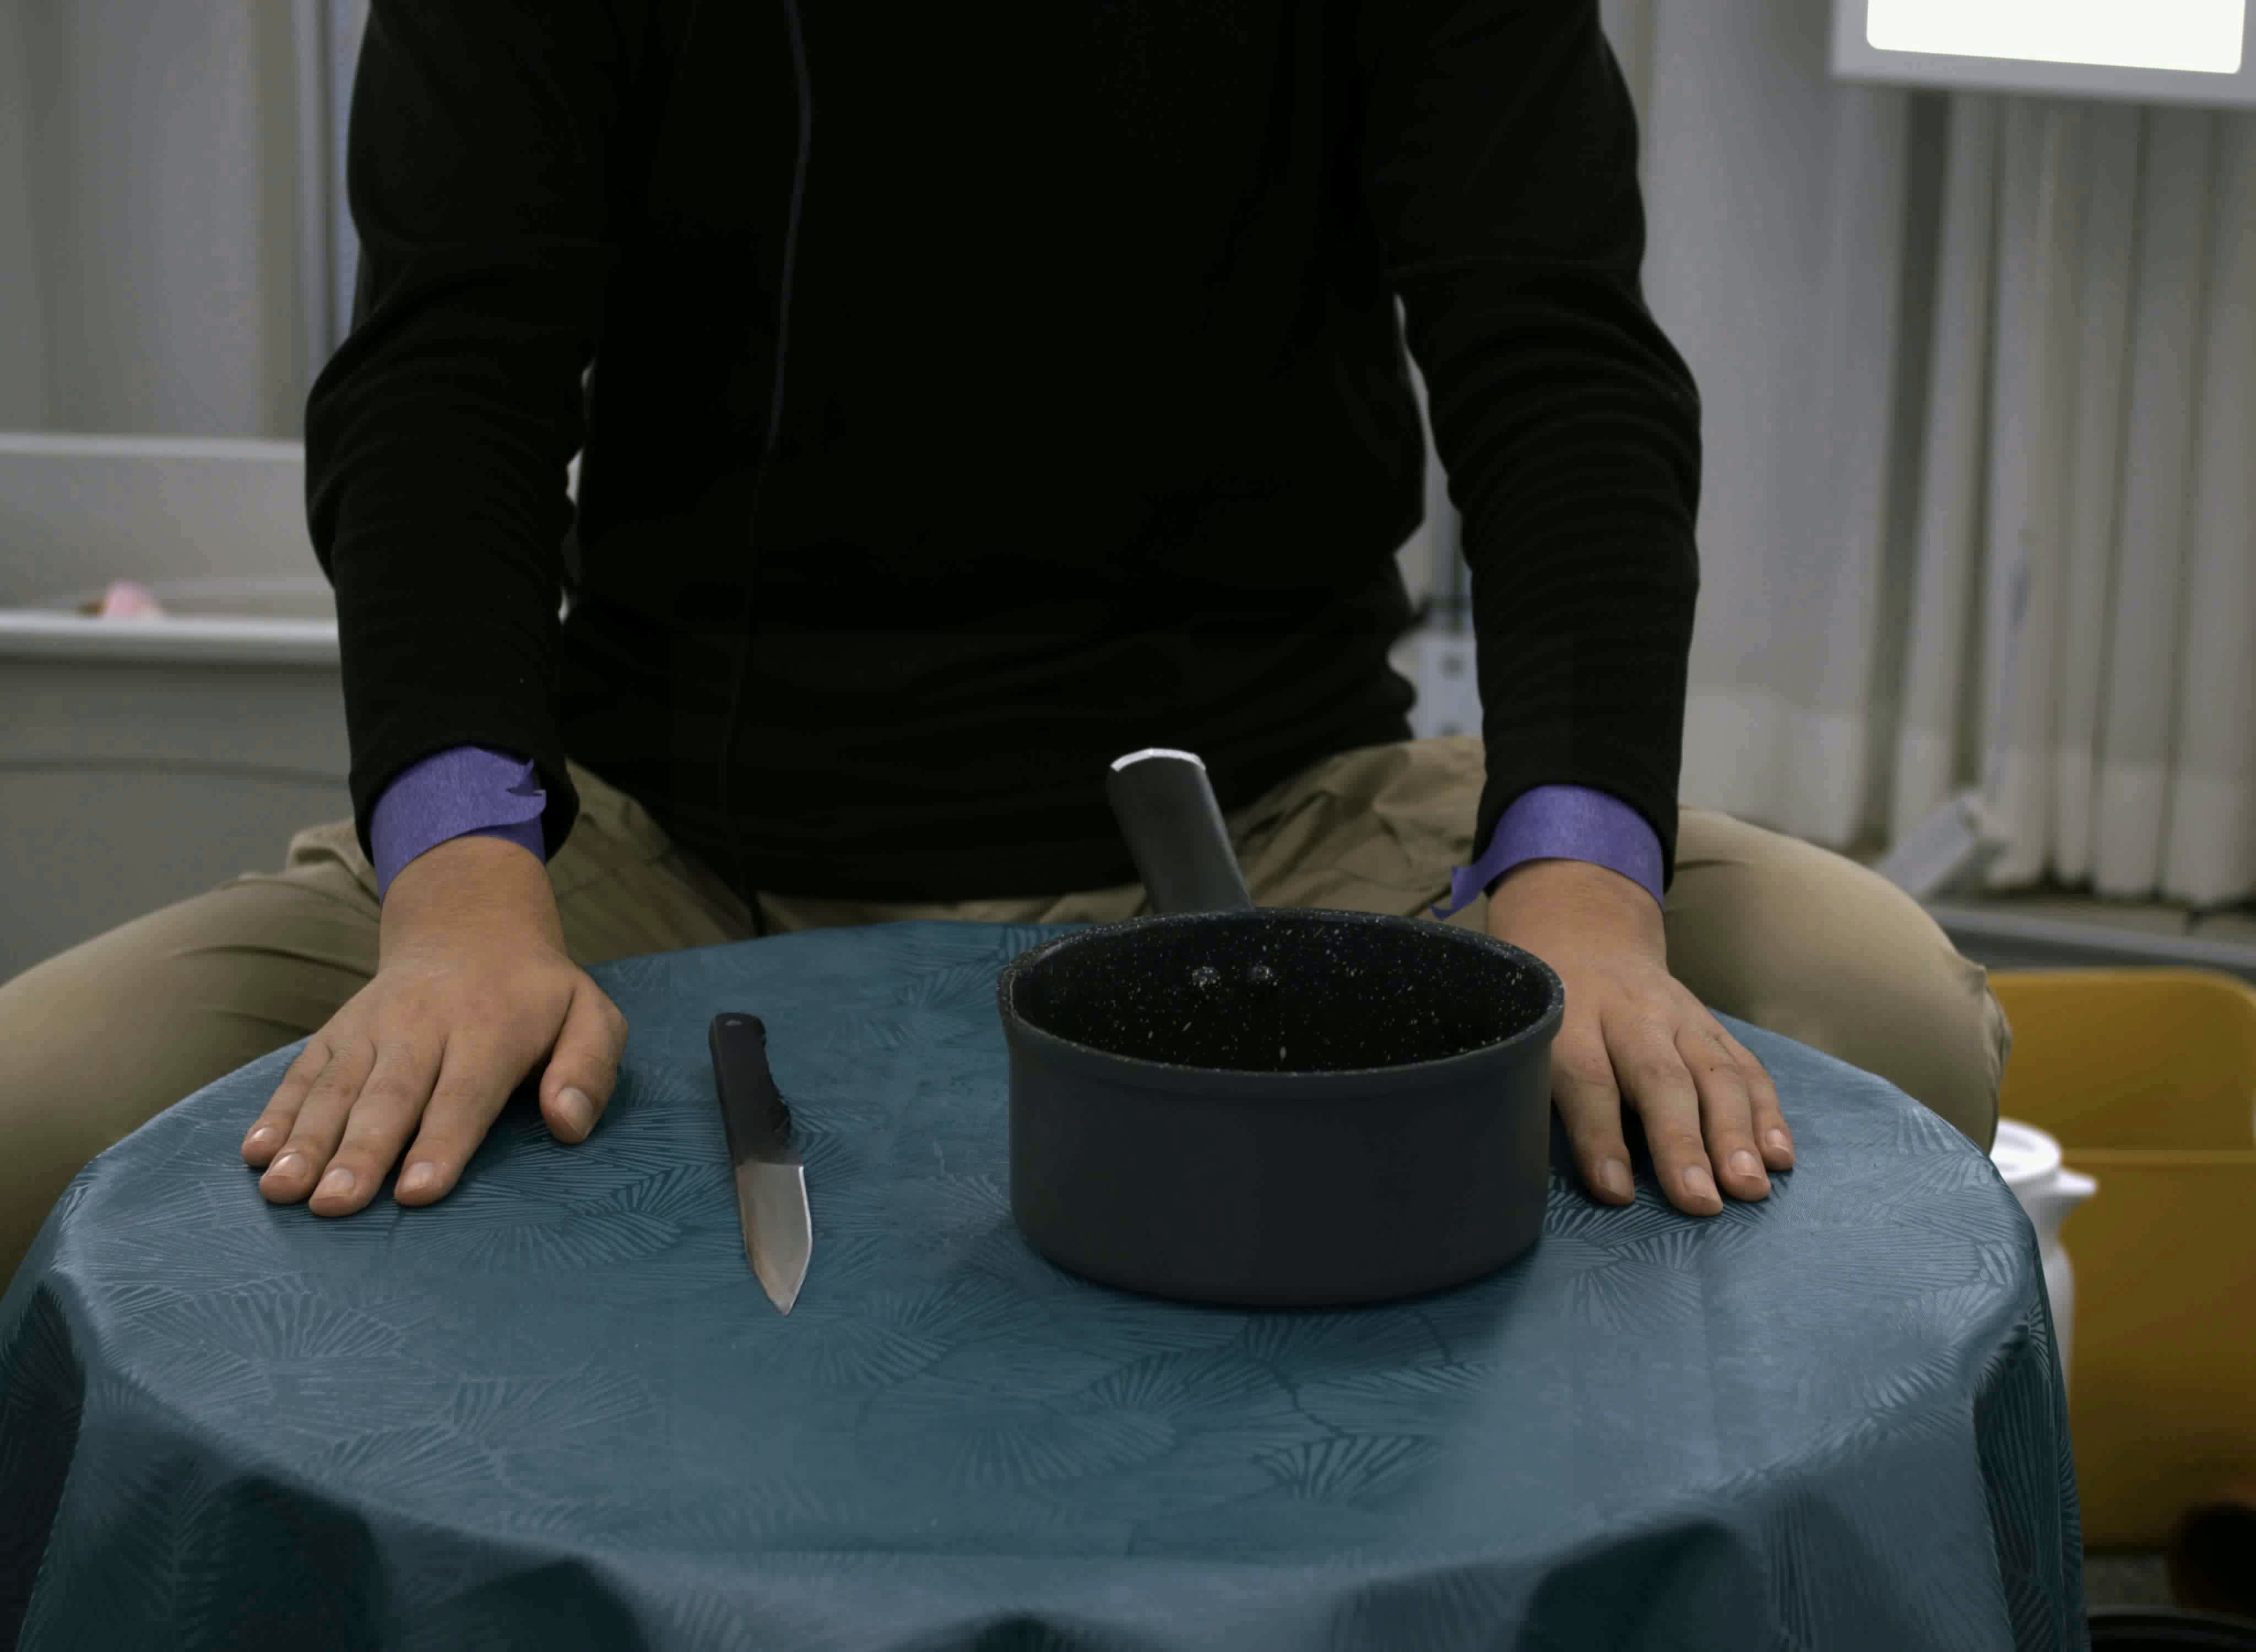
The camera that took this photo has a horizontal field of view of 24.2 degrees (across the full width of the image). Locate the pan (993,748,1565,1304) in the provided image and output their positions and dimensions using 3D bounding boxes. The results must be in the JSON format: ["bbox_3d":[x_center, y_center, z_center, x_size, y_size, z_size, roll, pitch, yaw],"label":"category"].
[{"bbox_3d":[0.037,0.059,1.659,0.172,0.087,0.326,-1,16,-6],"label":"pan"}]

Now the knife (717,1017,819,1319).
[{"bbox_3d":[-0.113,0.105,1.626,0.024,0.016,0.236,-1,18,-8],"label":"knife"}]
